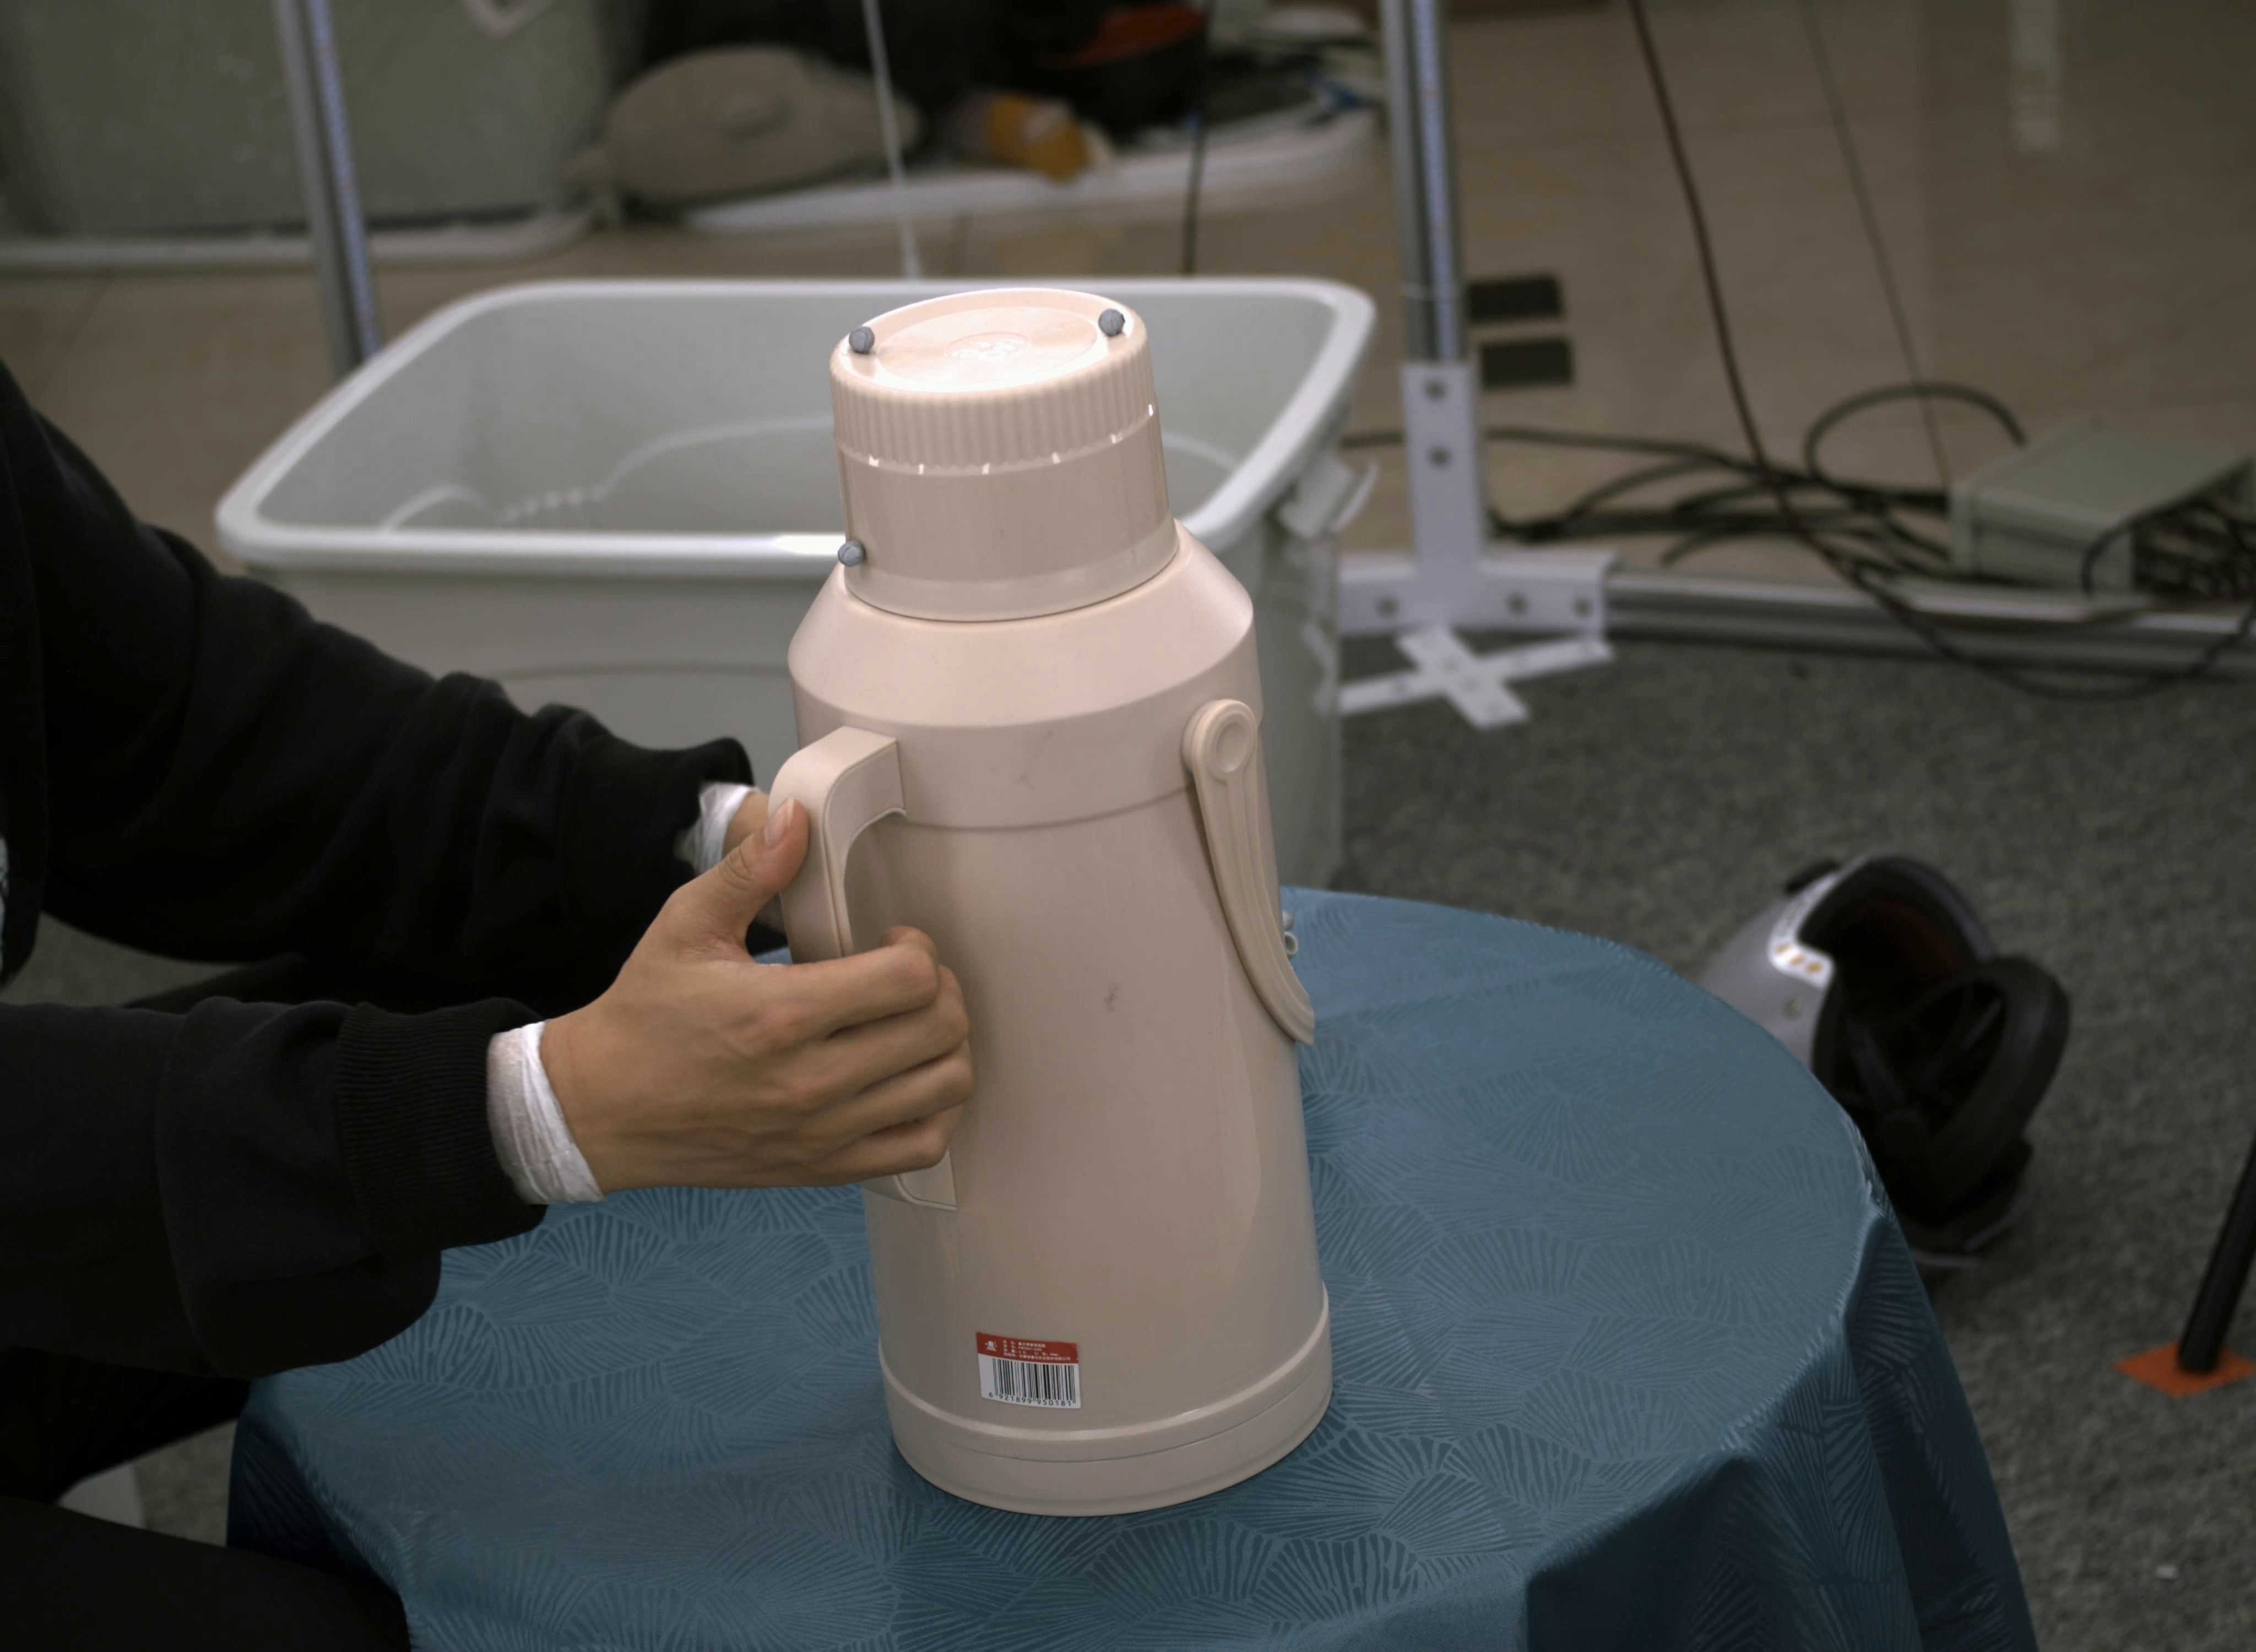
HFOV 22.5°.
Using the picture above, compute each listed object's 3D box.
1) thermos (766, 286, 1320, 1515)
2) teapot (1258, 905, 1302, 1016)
[{"bbox_3d":[-0.038,0.030,1.917,0.174,0.413,0.205,16,33,36],"label":"thermos"},{"bbox_3d":[0.012,0.061,2.243,0.127,0.060,0.090,6,32,24],"label":"teapot"}]
